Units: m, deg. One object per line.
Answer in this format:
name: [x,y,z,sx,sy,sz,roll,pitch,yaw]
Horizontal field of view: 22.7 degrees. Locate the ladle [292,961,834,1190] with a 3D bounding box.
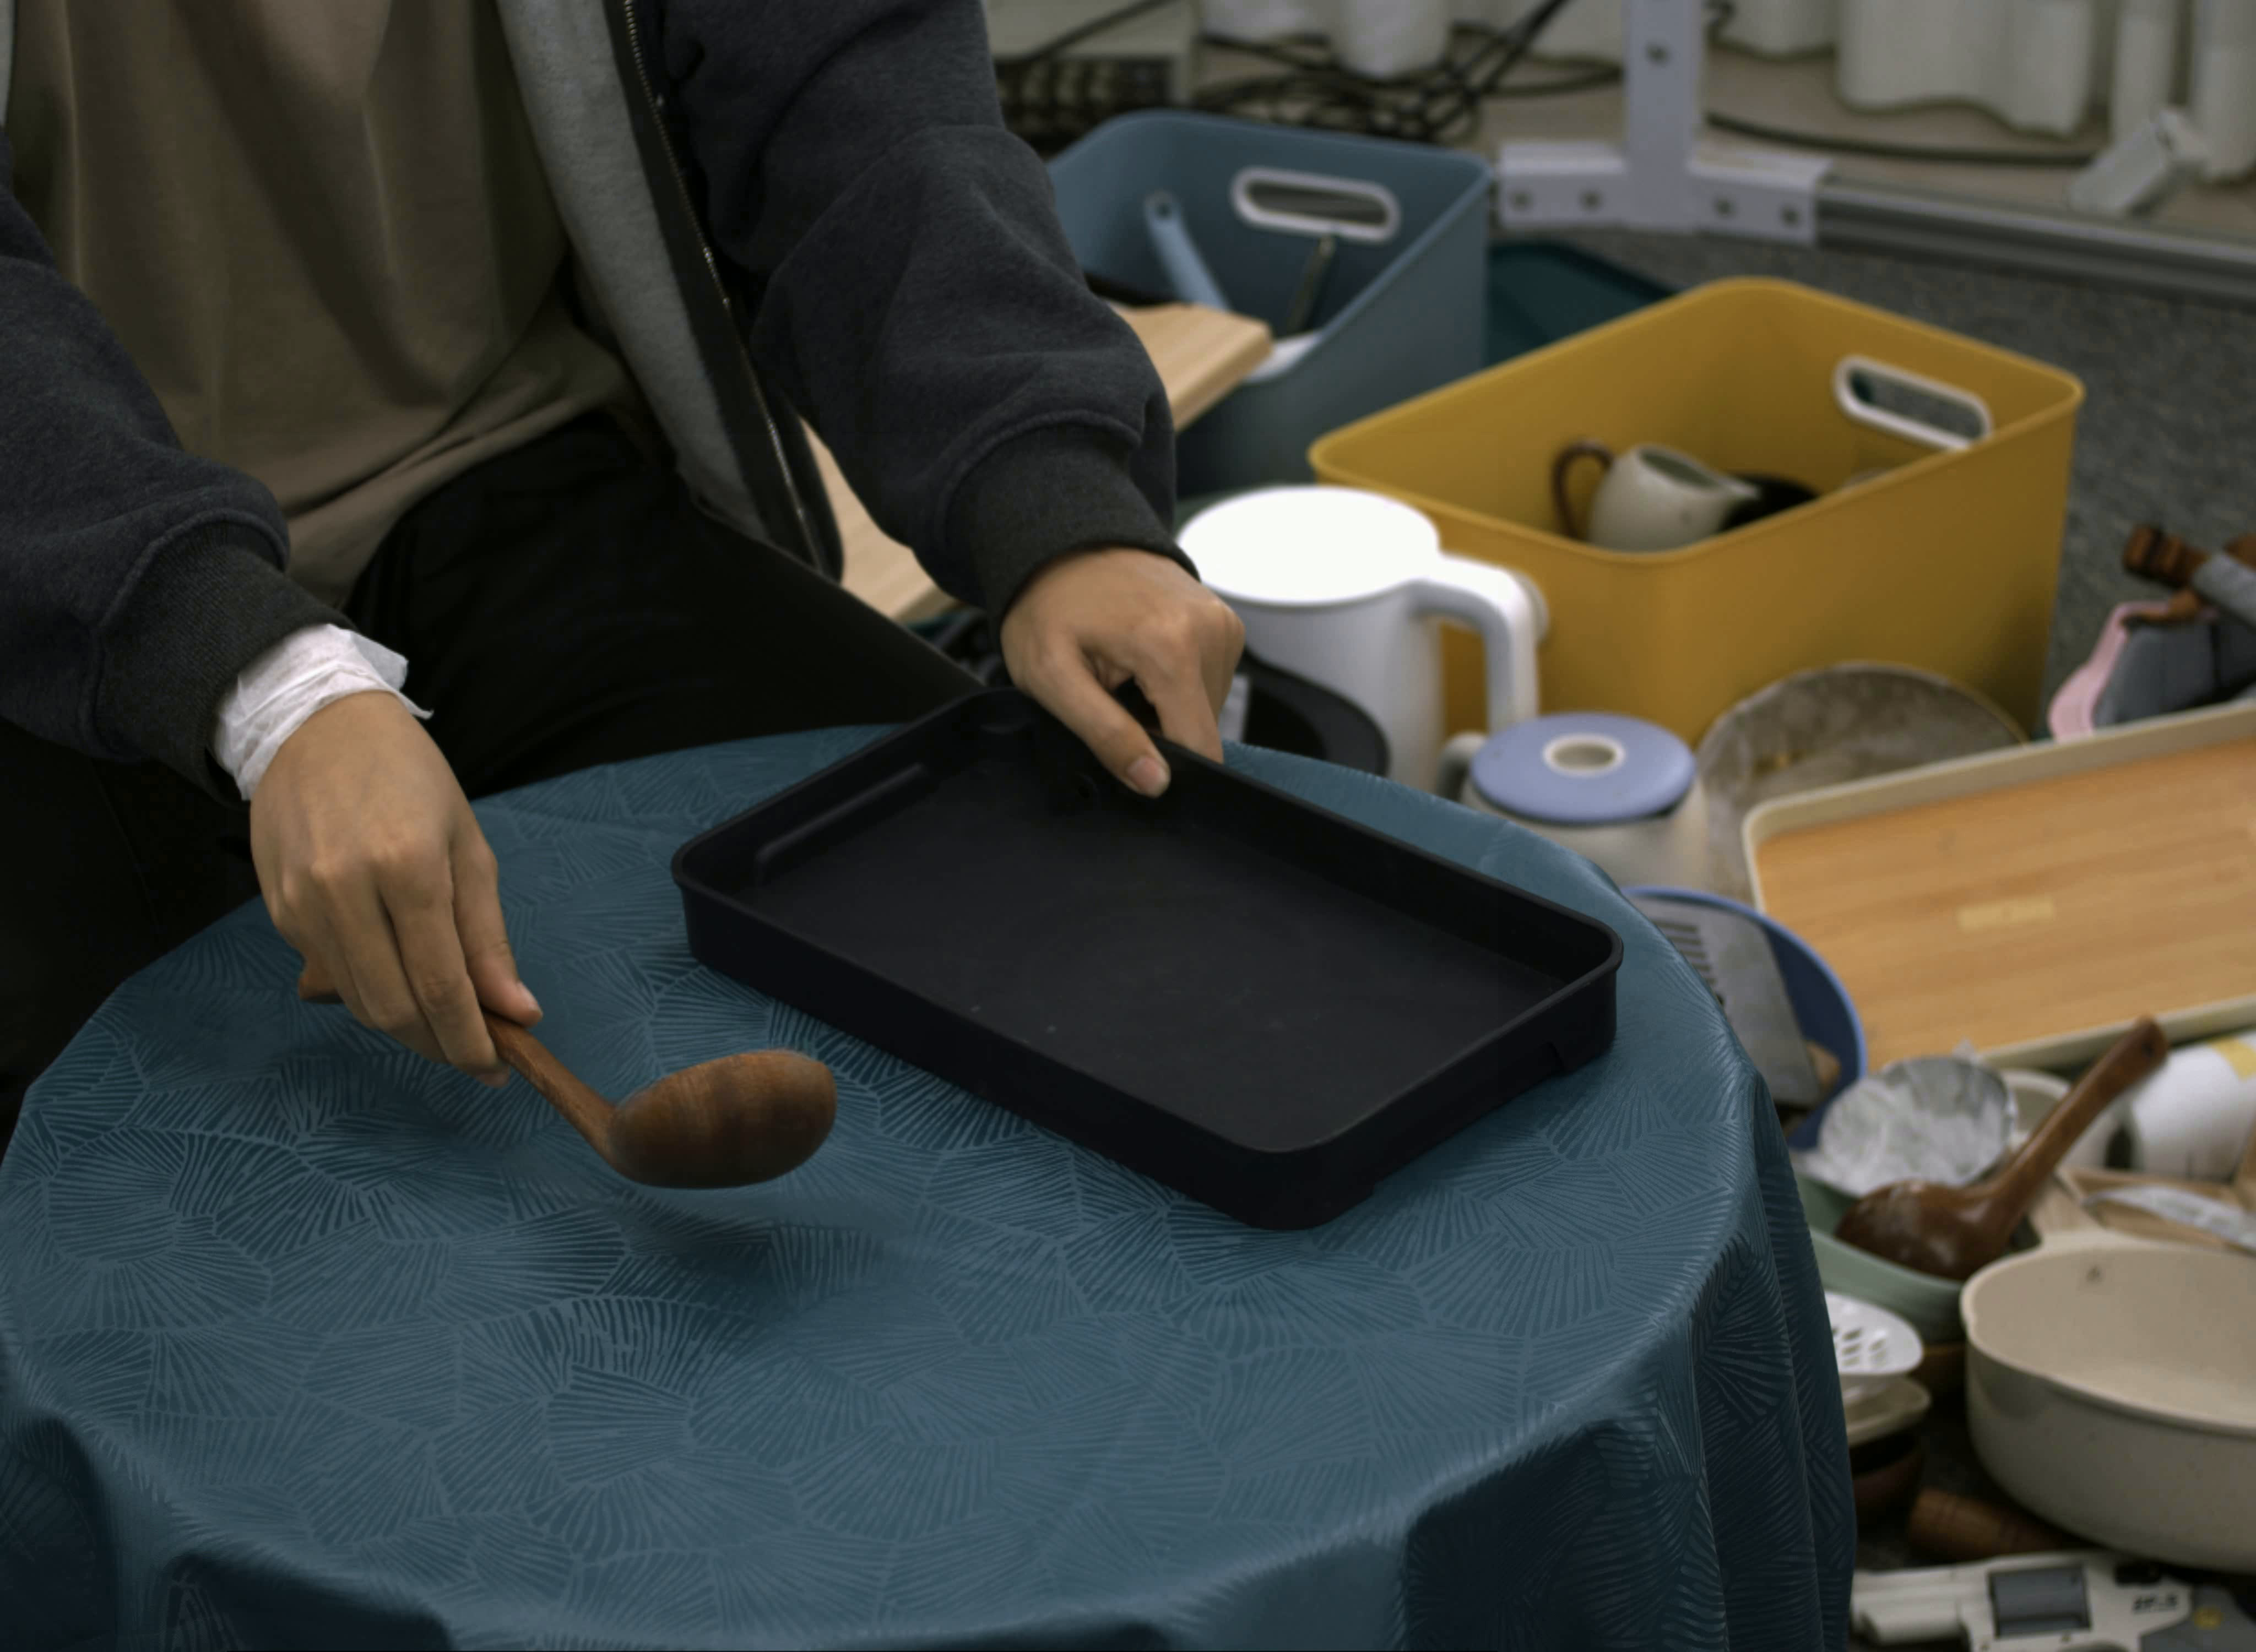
ladle: [-0.196,0.067,1.884,0.076,0.065,0.260,13,7,-45]

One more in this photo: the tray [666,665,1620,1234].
tray: [0.002,0.038,1.972,0.317,0.036,0.186,25,40,39]
